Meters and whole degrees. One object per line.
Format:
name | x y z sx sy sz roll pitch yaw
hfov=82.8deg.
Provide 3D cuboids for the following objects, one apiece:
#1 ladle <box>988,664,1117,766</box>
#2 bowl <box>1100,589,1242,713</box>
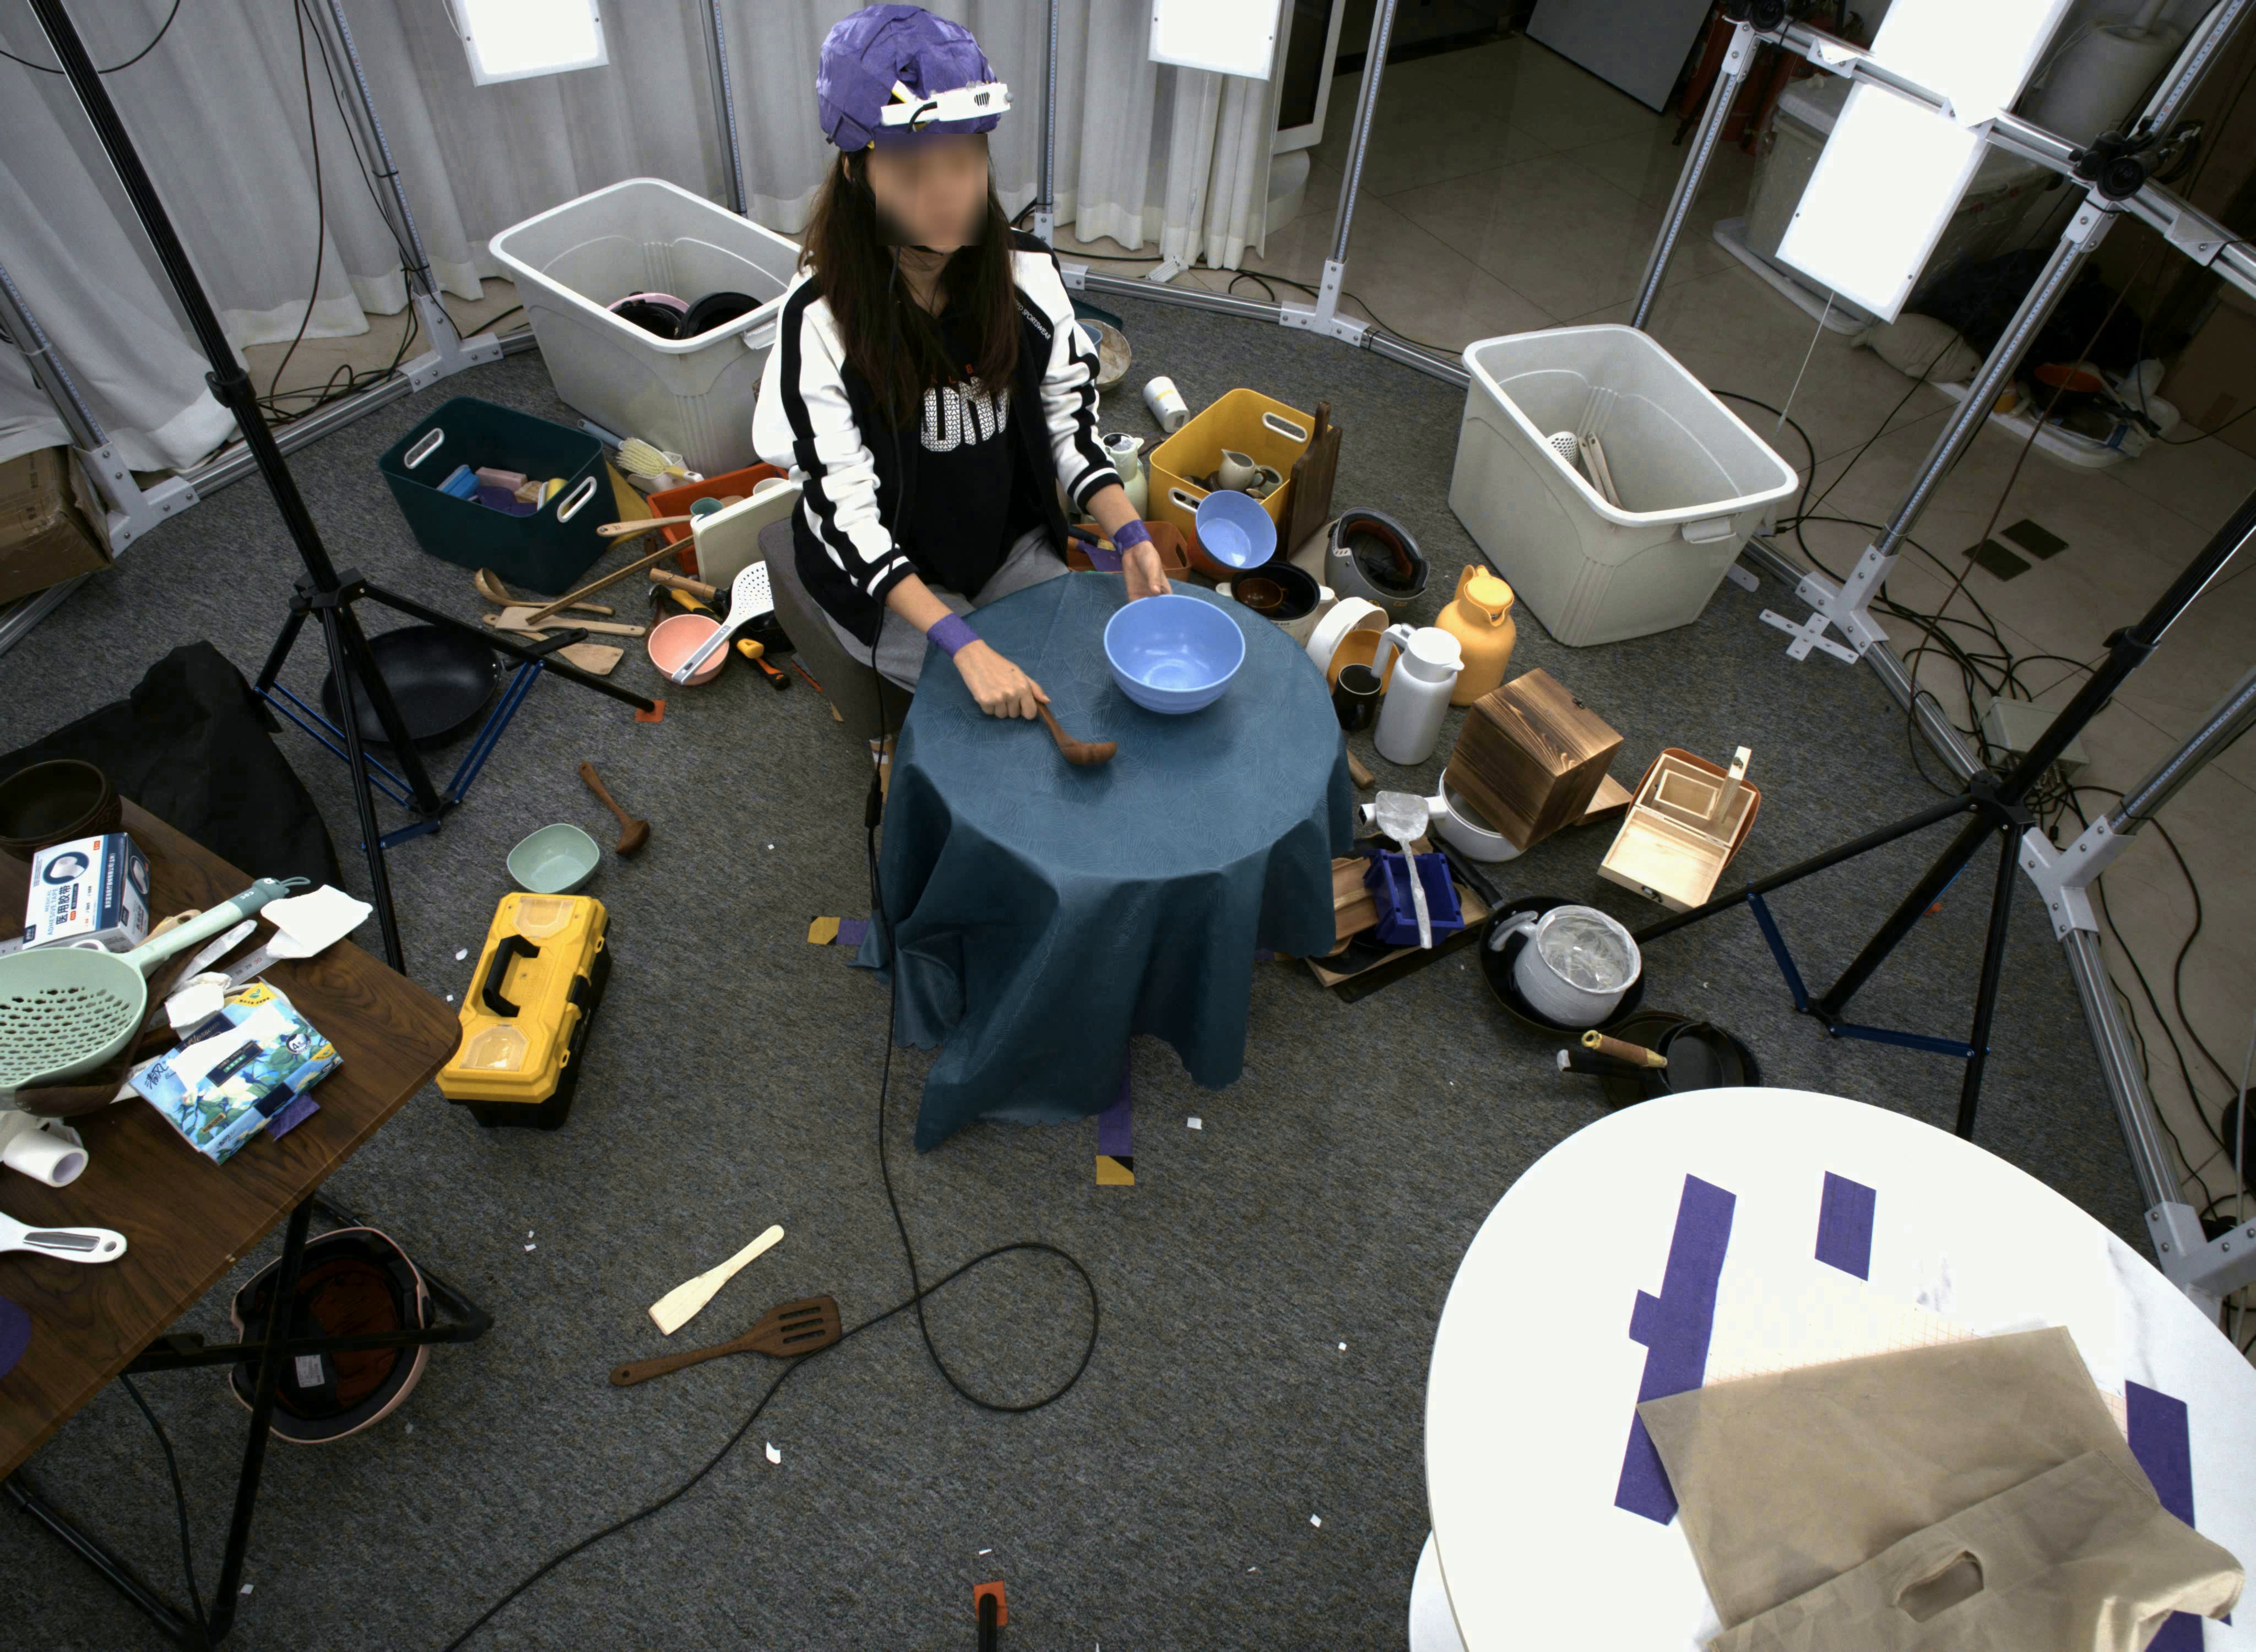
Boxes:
ladle | -0.109 -0.164 1.766 0.076 0.064 0.265 -5 43 -45
bowl | 0.059 -0.232 1.815 0.196 0.093 0.201 0 55 -1
